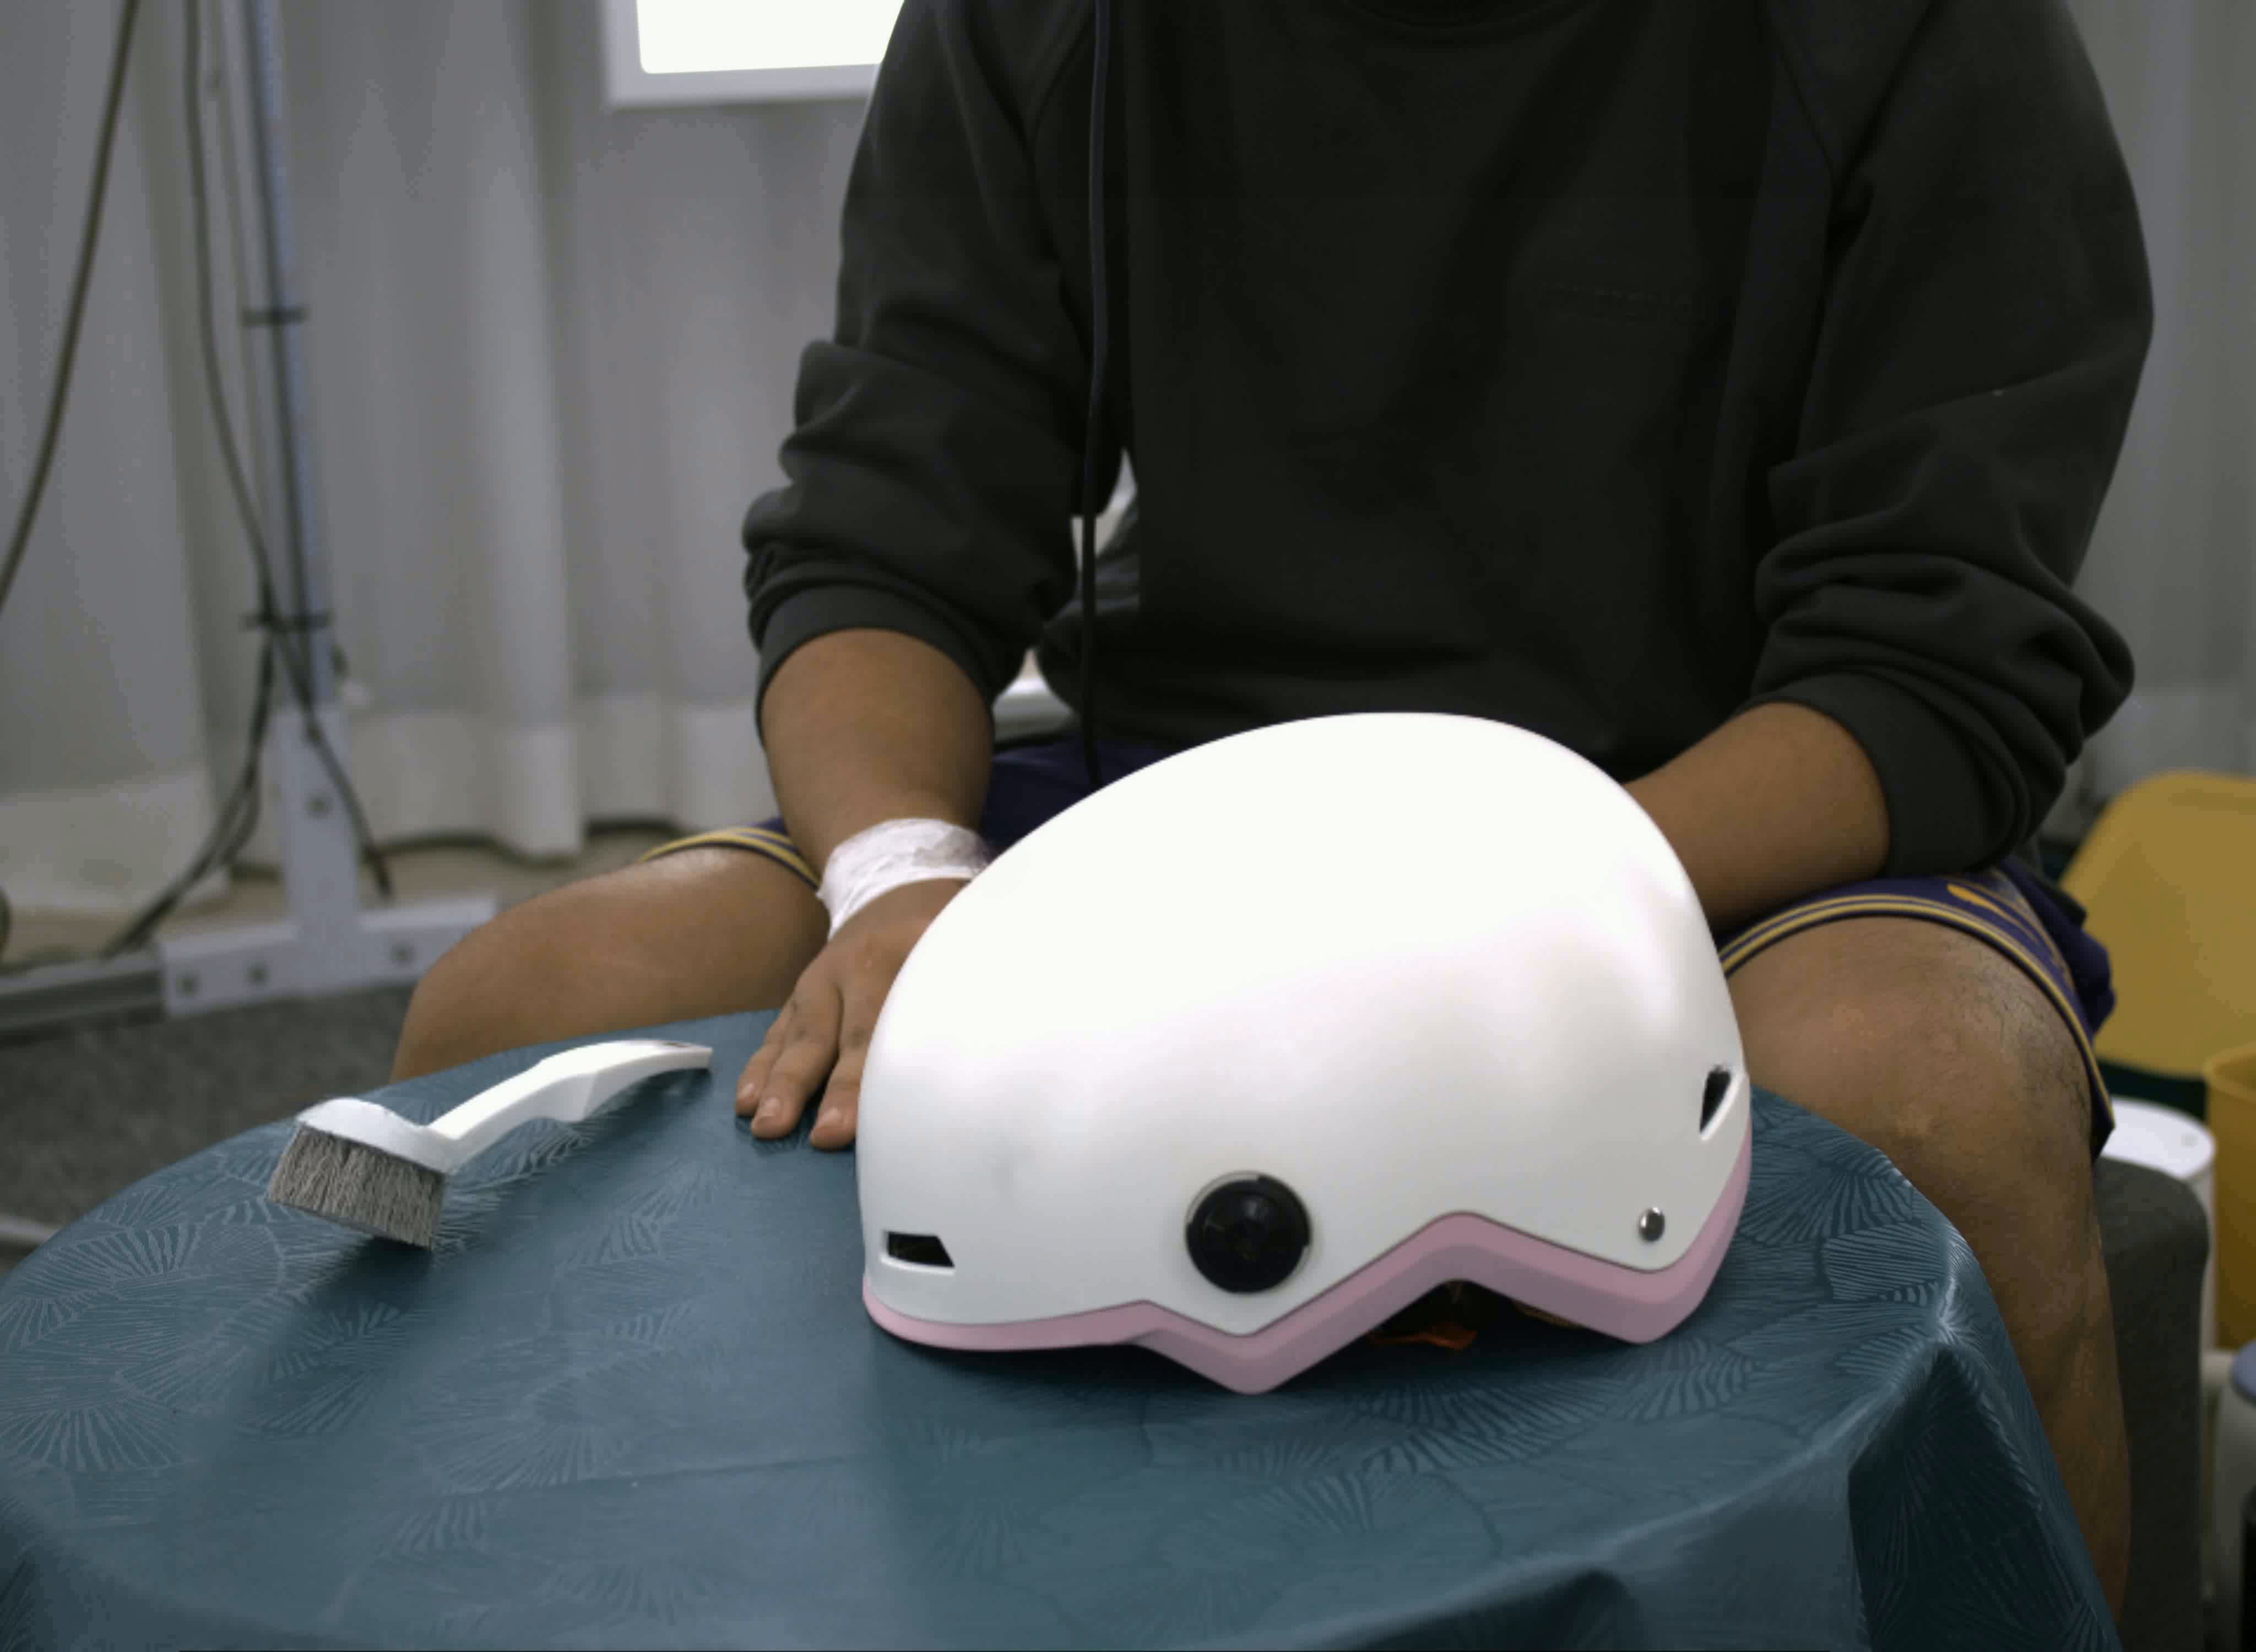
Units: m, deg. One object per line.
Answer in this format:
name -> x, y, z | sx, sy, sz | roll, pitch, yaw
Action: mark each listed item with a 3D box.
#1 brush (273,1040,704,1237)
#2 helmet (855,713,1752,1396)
brush -> -0.200, 0.101, 1.763 | 0.034, 0.050, 0.243 | 8, 5, 22
helmet -> 0.049, 0.054, 1.619 | 0.268, 0.166, 0.239 | -3, 15, -1
